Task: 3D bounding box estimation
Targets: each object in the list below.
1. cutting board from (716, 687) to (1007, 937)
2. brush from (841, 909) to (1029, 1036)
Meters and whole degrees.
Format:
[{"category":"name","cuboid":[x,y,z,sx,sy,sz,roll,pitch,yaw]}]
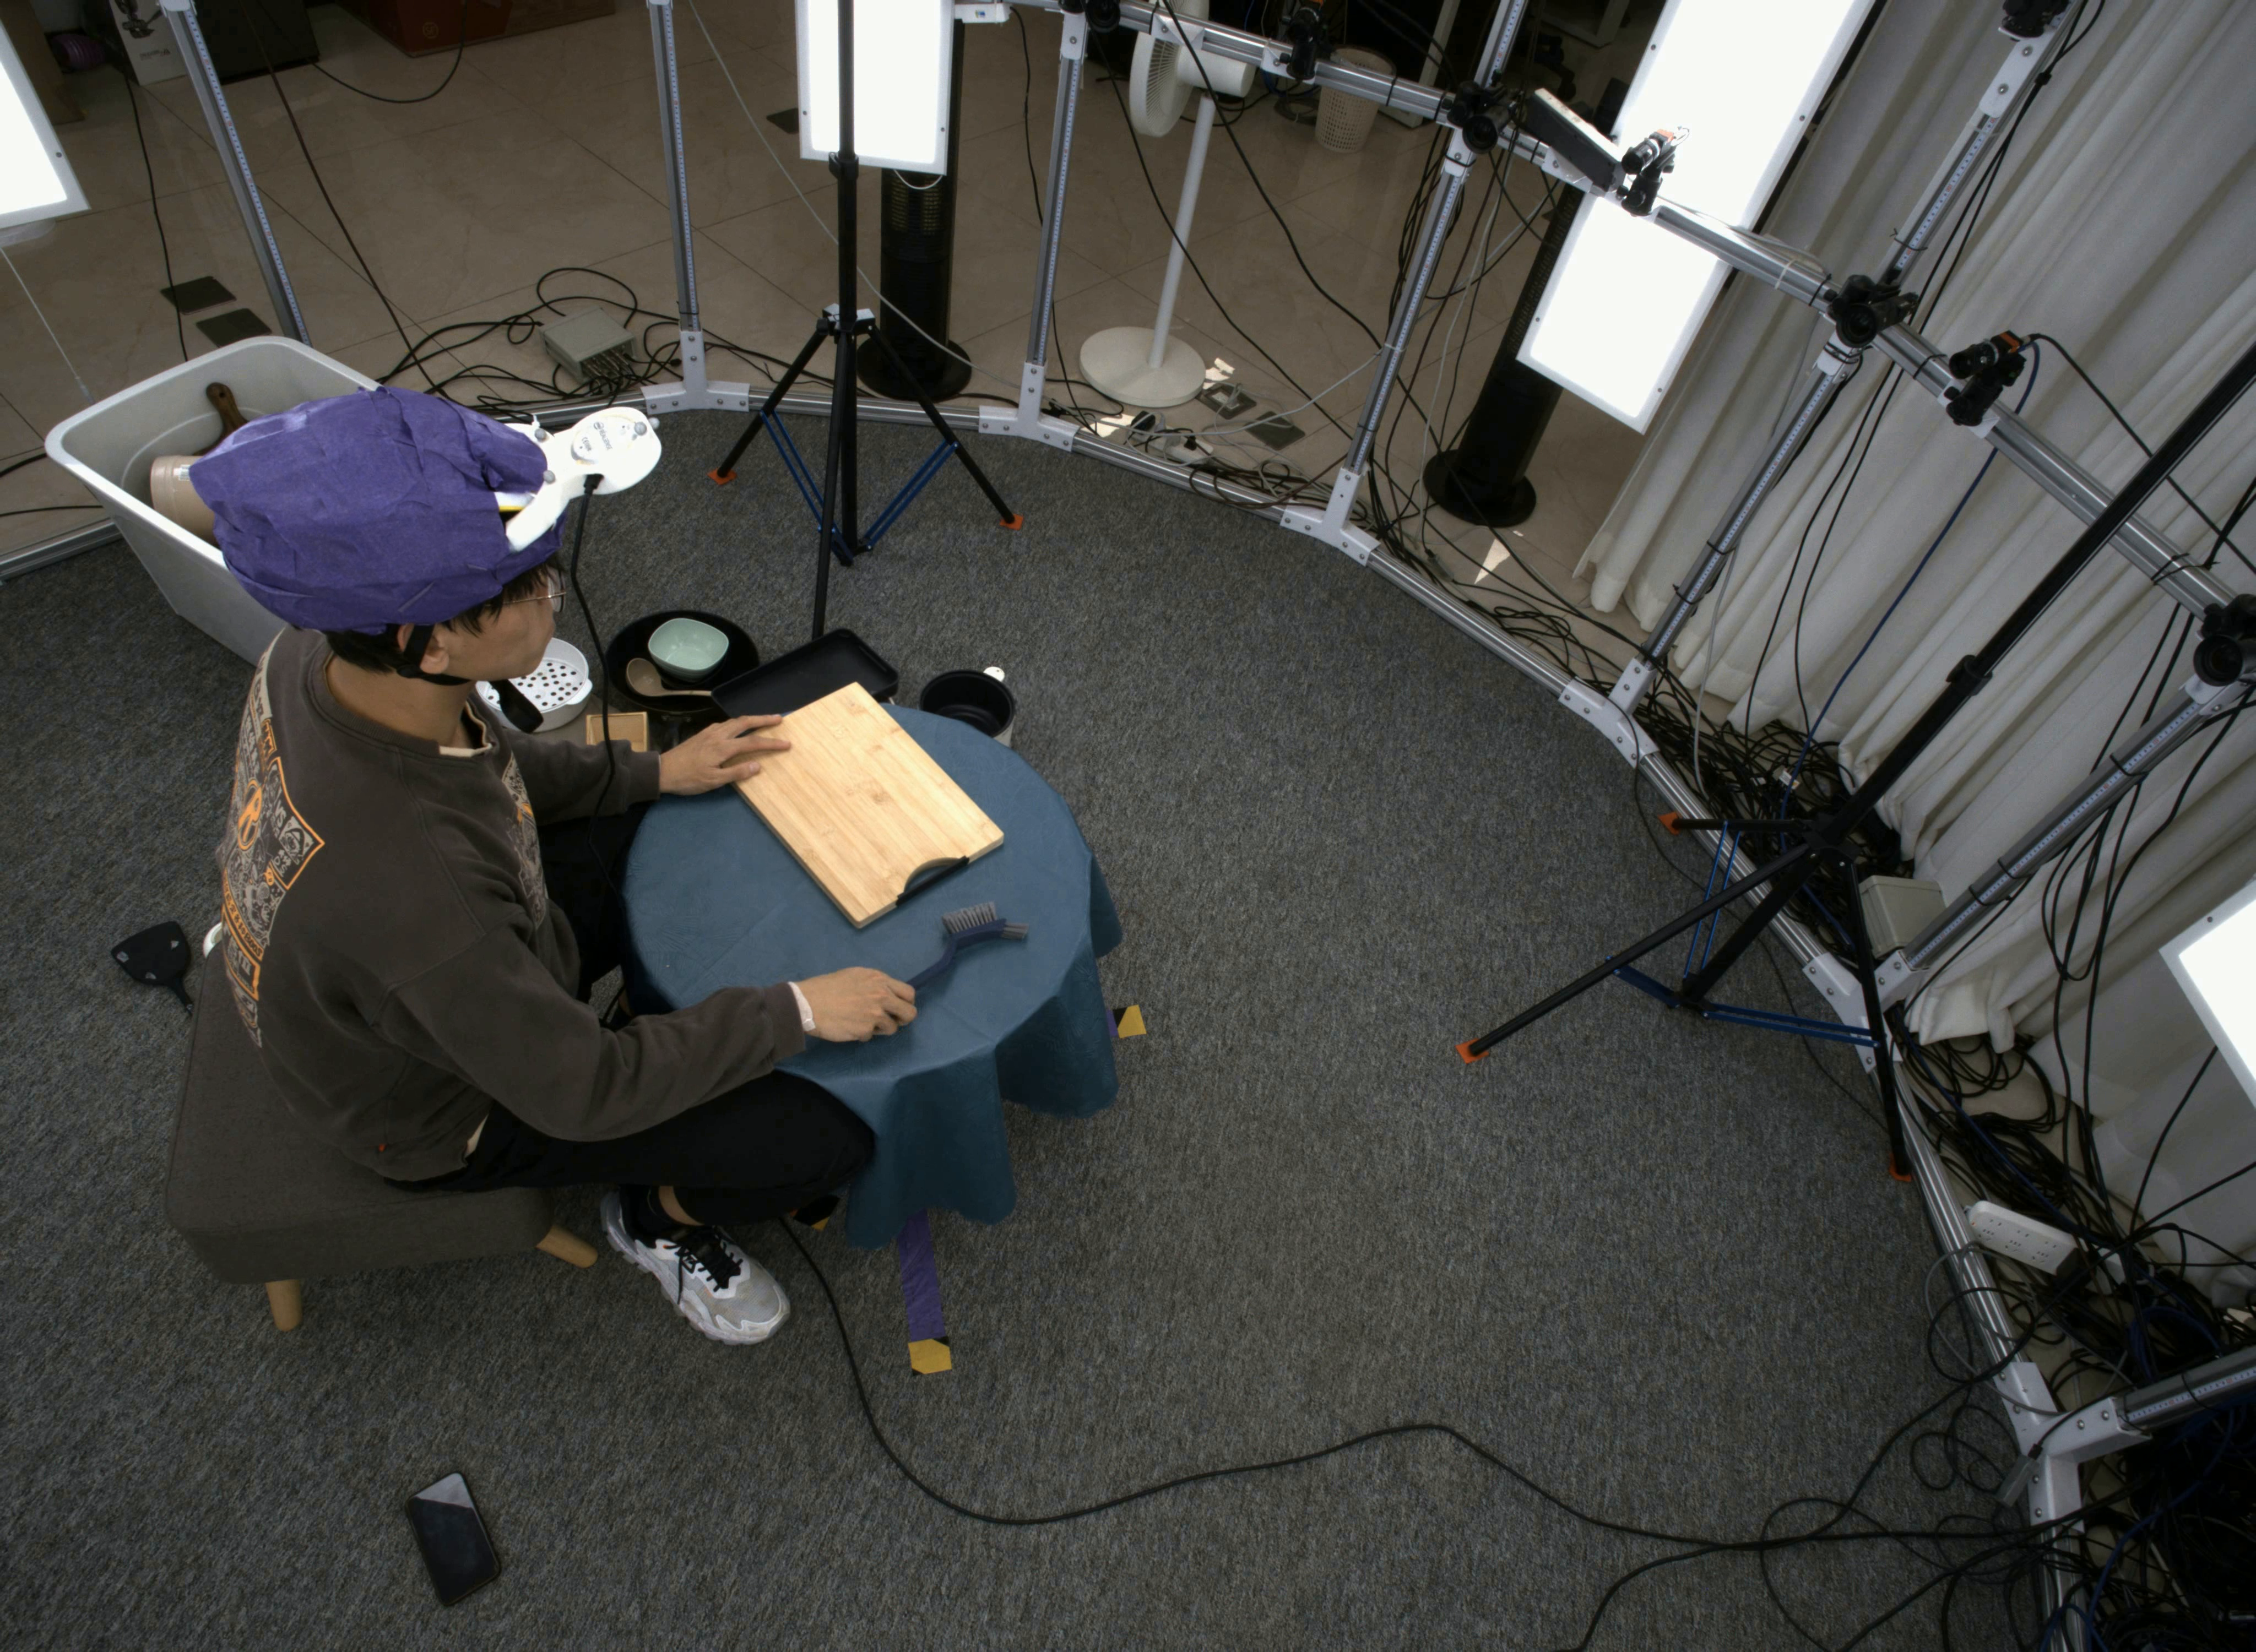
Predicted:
[{"category":"cutting board","cuboid":[-0.363,-0.033,1.767,0.251,0.024,0.341,-35,68,-31]},{"category":"brush","cuboid":[-0.239,0.185,1.617,0.095,0.034,0.273,41,51,7]}]
